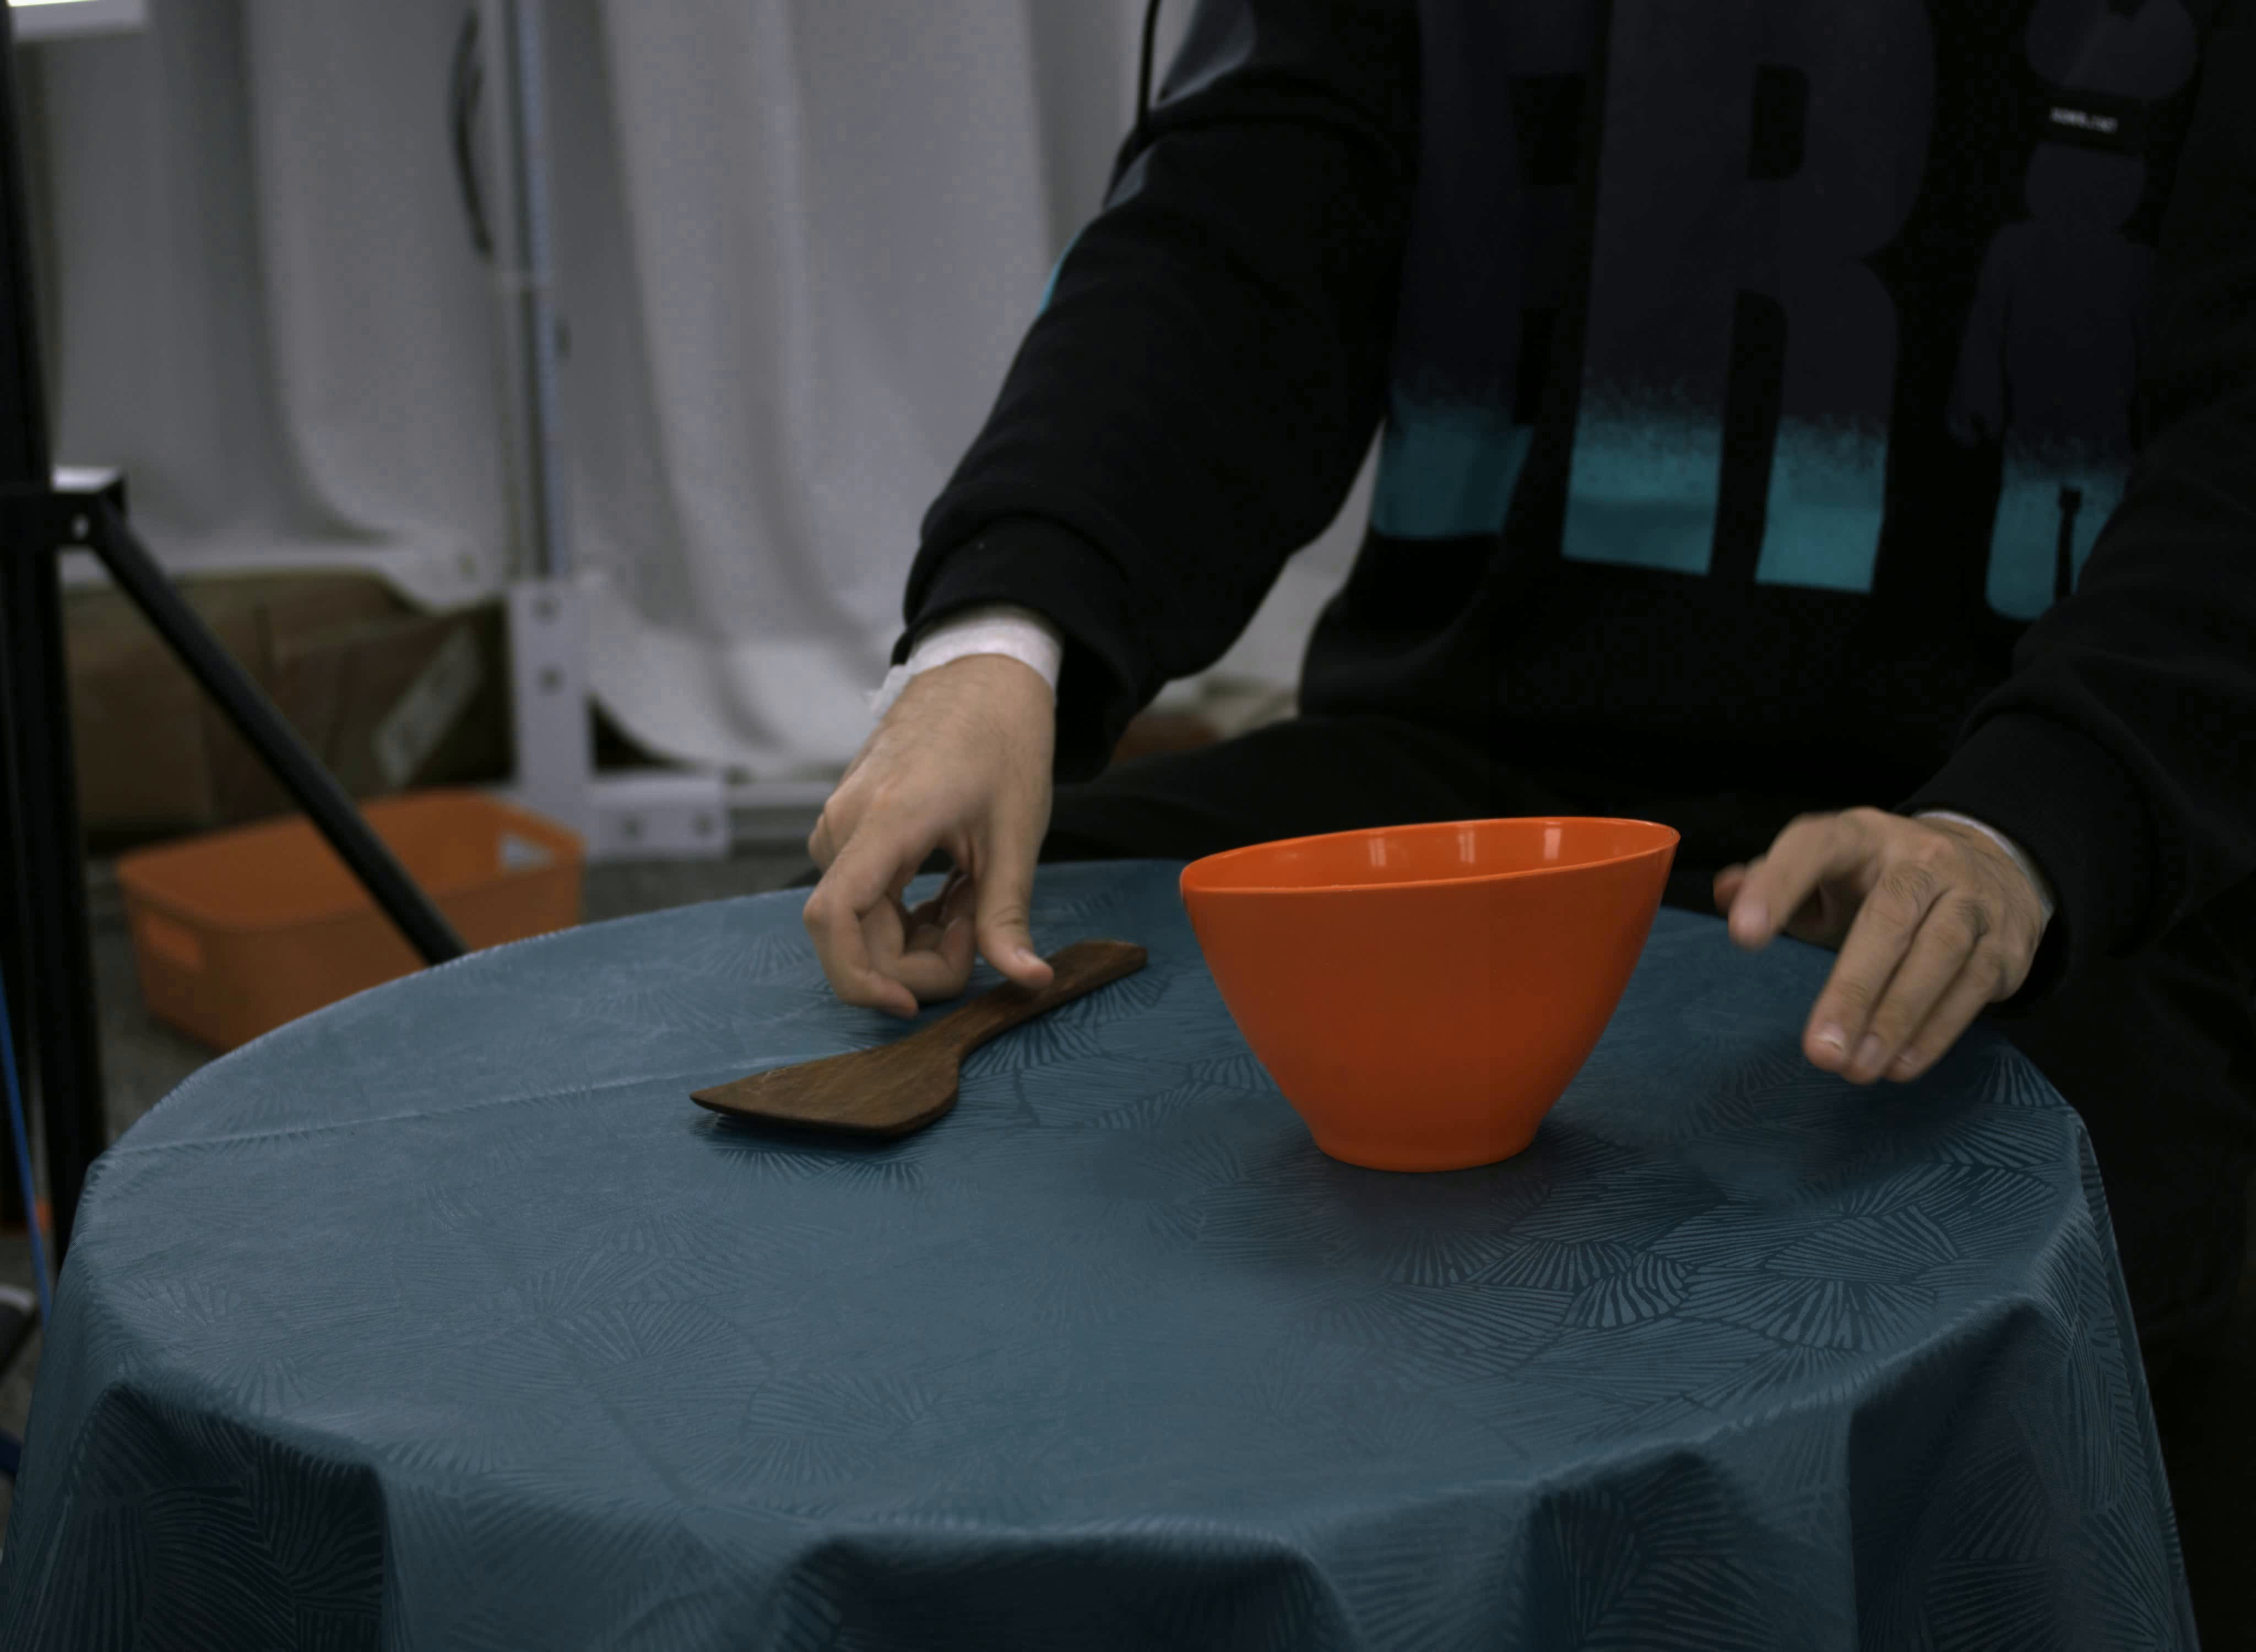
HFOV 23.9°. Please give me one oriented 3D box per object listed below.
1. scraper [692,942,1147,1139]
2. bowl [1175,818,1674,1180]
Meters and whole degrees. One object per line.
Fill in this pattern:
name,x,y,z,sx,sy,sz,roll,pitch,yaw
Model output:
scraper,-0.054,0.067,1.699,0.077,0.011,0.207,8,18,30
bowl,0.089,0.049,1.570,0.147,0.104,0.149,-4,14,0
